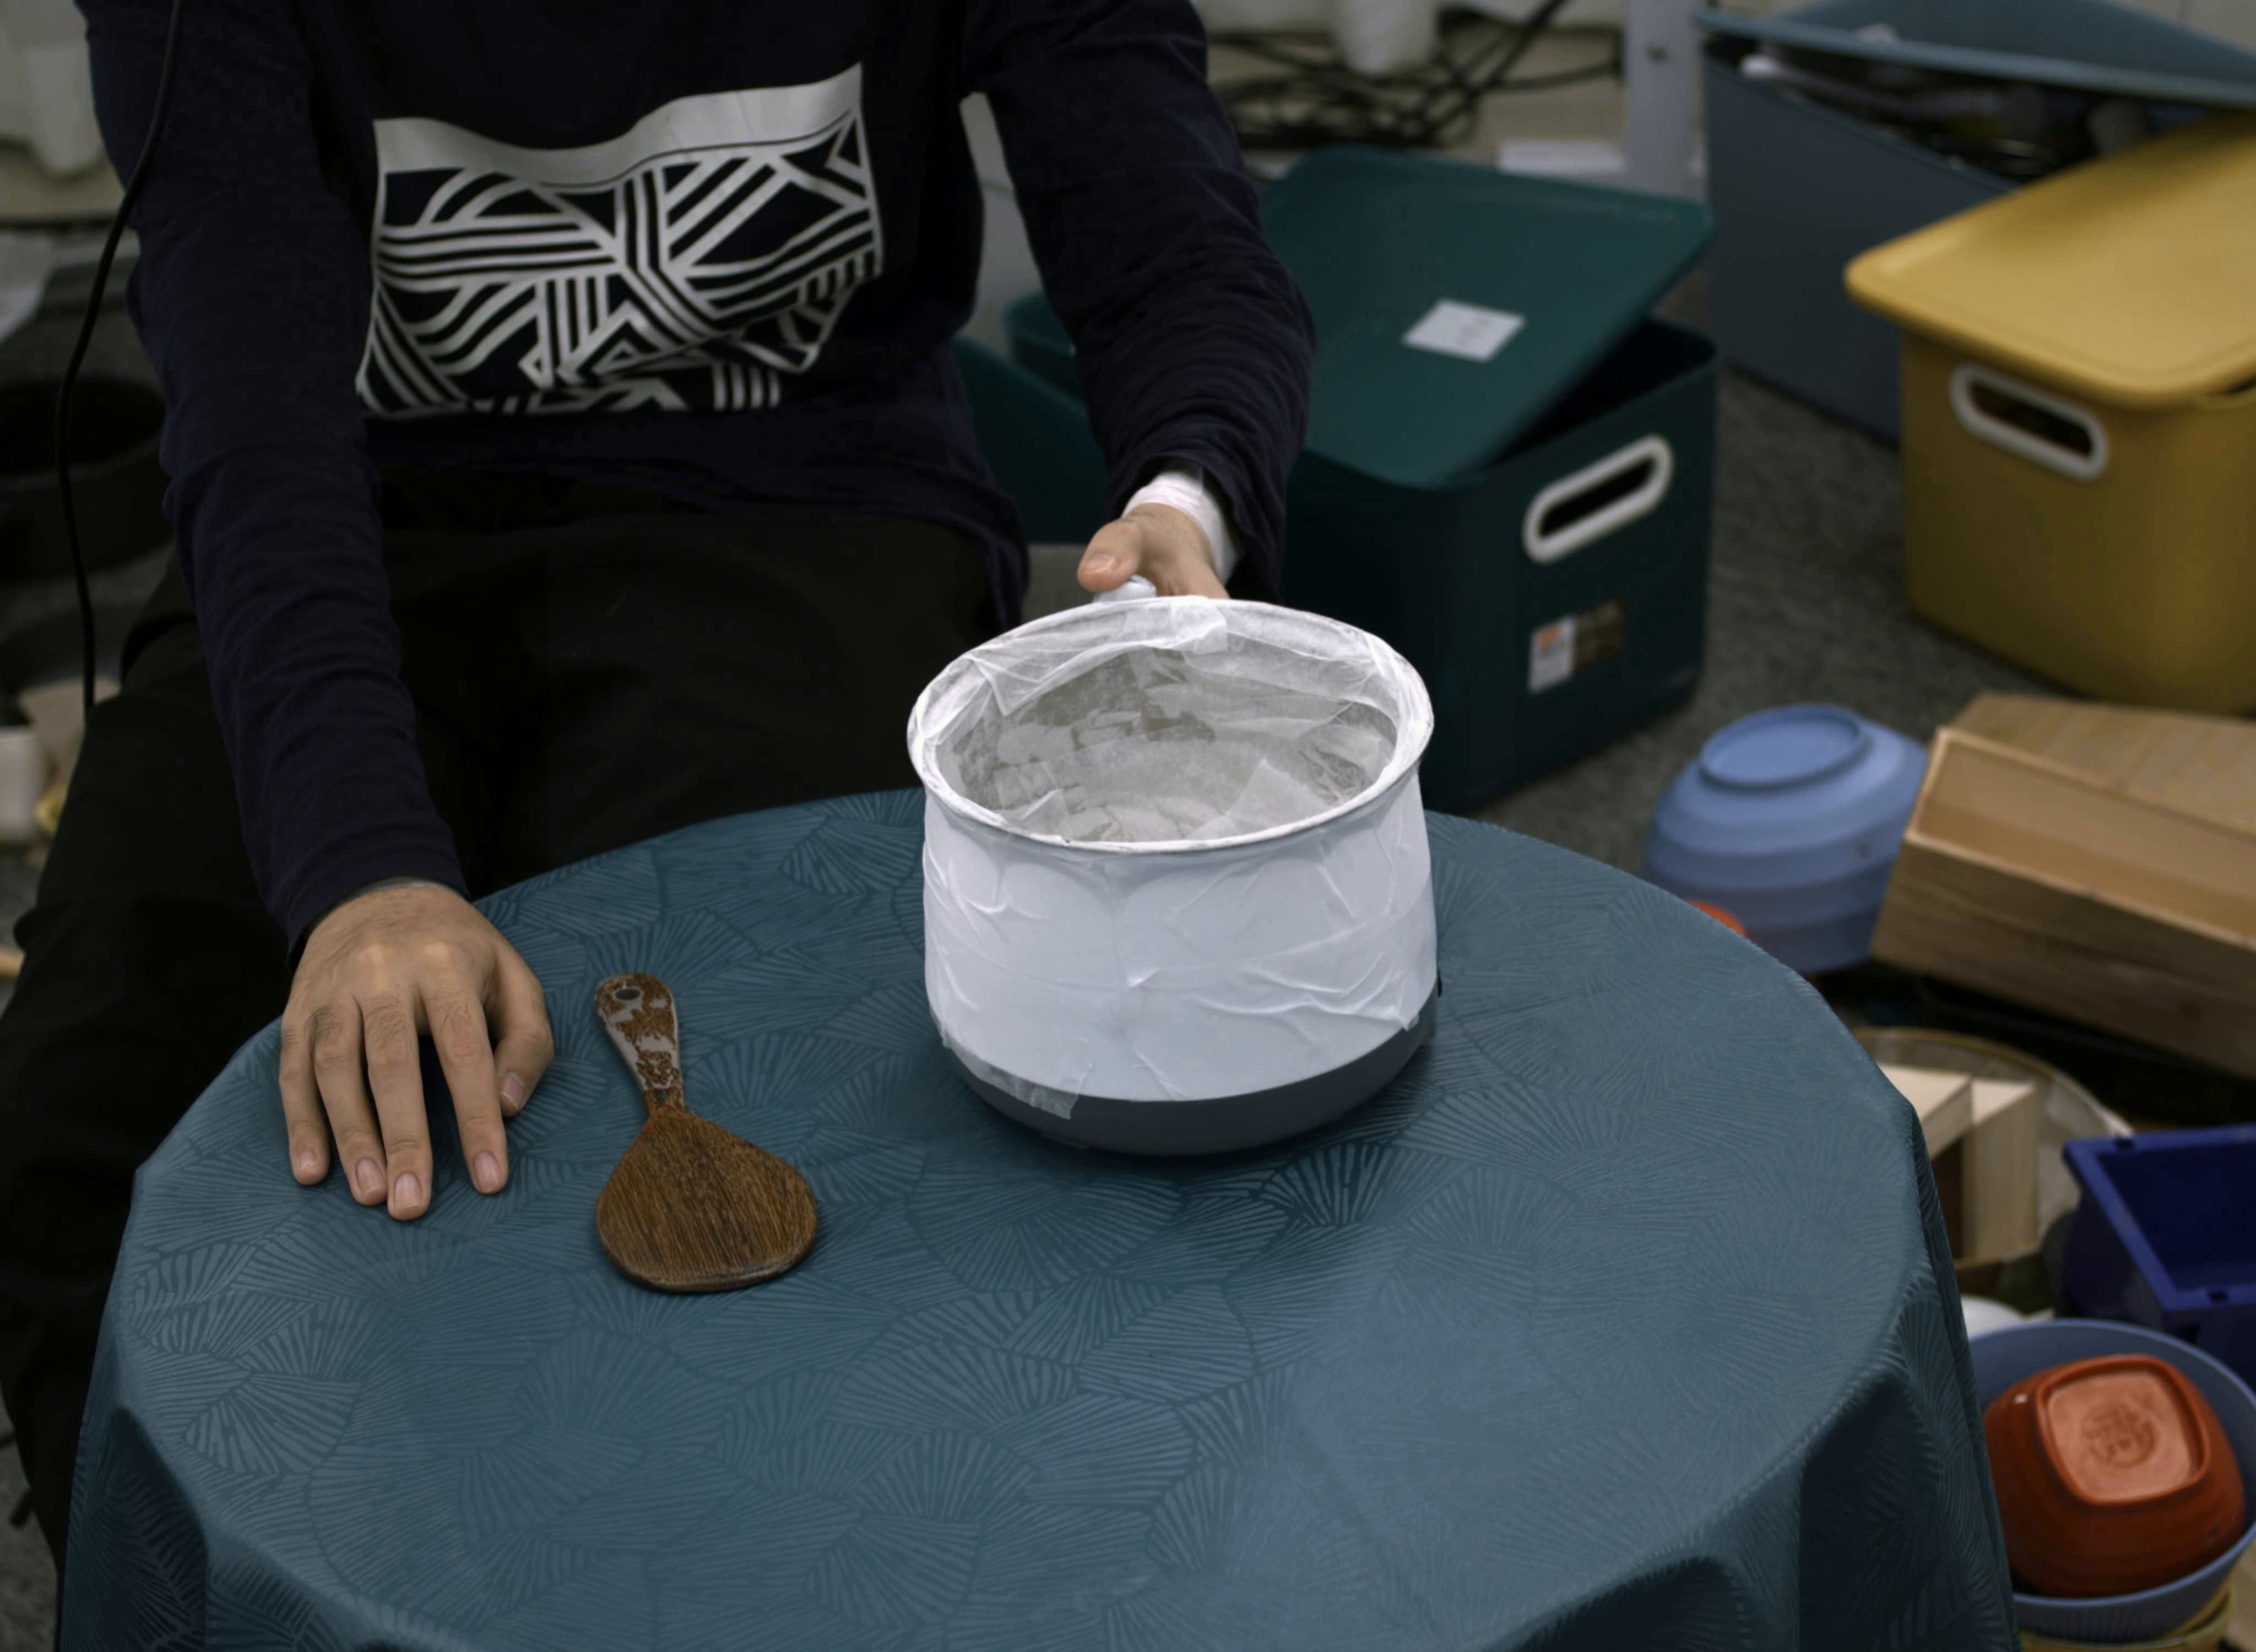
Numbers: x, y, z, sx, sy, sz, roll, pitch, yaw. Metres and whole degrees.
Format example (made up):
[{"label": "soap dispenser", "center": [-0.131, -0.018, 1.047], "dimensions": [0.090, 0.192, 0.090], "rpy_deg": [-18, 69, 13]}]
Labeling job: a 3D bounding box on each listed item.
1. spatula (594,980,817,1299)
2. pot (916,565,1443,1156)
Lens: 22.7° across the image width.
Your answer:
[{"label": "spatula", "center": [-0.154, 0.103, 1.908], "dimensions": [0.072, 0.009, 0.218], "rpy_deg": [-7, 27, -11]}, {"label": "pot", "center": [0.012, 0.004, 1.932], "dimensions": [0.178, 0.135, 0.237], "rpy_deg": [-4, 29, -9]}]
